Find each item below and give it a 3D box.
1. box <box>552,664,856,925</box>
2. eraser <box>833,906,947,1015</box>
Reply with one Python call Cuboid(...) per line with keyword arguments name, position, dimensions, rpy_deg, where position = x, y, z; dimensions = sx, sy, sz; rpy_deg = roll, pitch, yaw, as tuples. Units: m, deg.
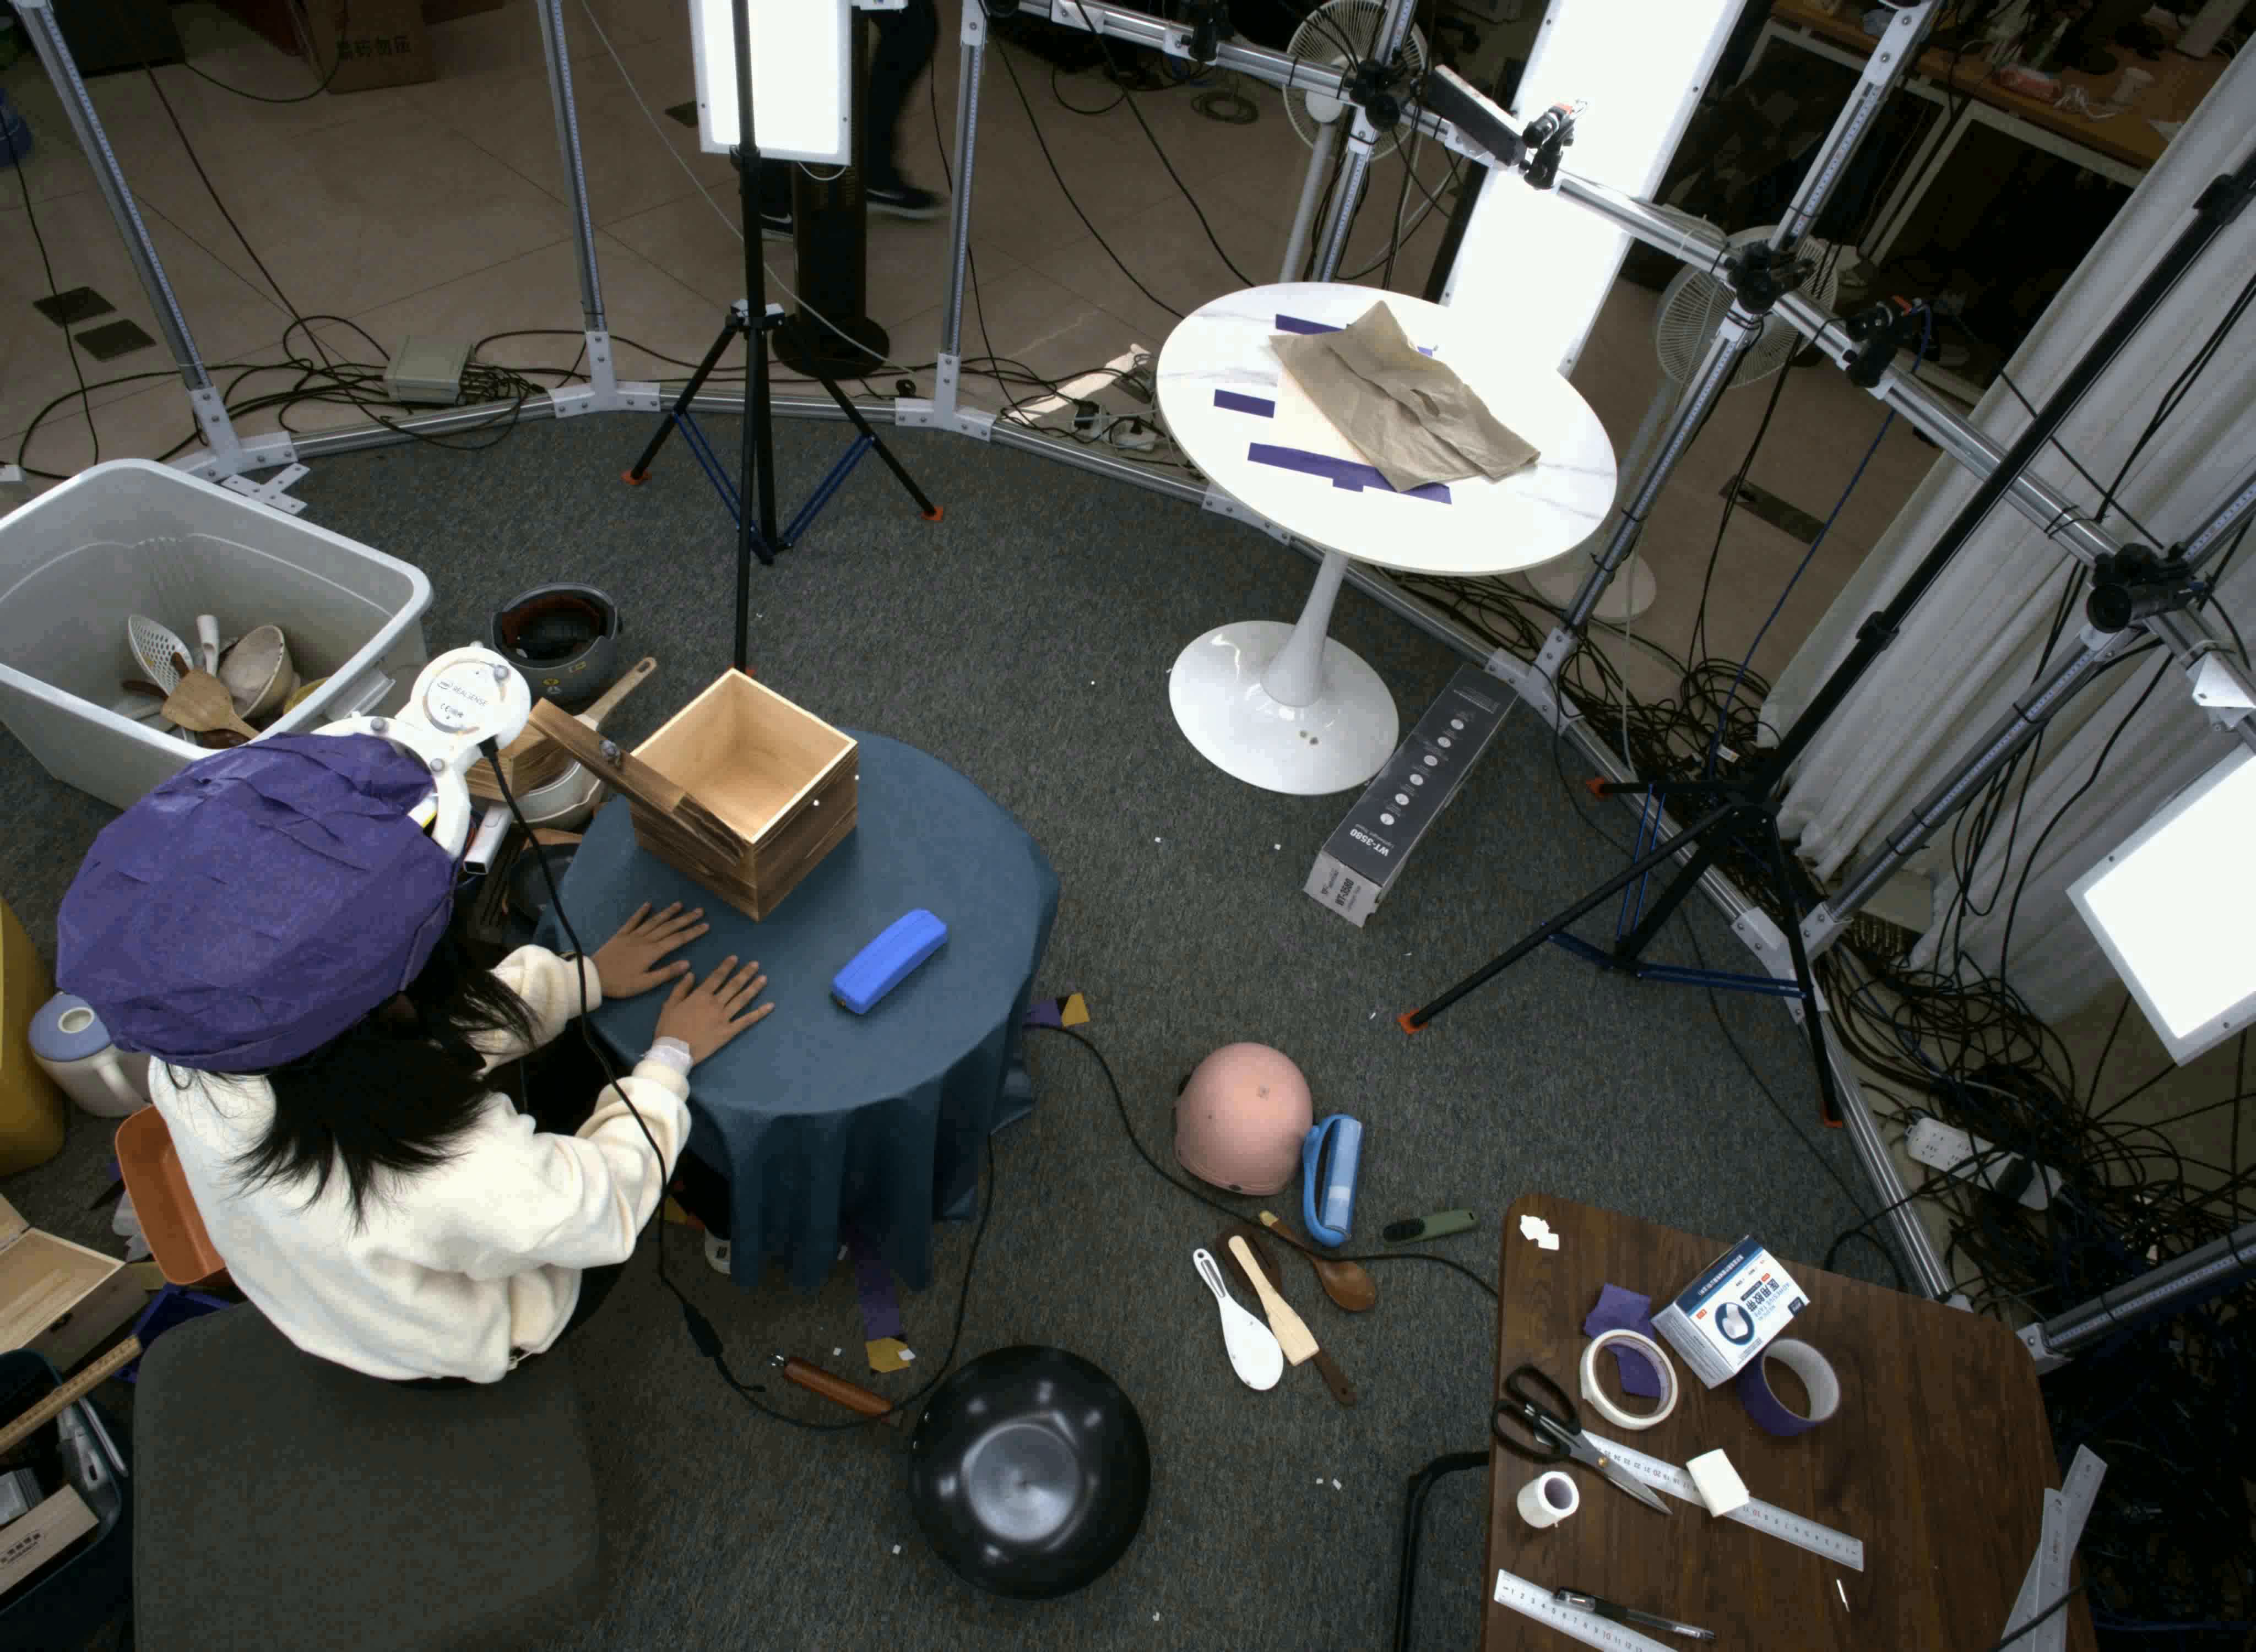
Cuboid(name="box", position=(-0.494, -0.067, 1.520), dimensions=(0.205, 0.383, 0.321), rpy_deg=(29, 54, 10))
Cuboid(name="eraser", position=(-0.292, 0.159, 1.604), dimensions=(0.053, 0.048, 0.162), rpy_deg=(36, 53, 15))
